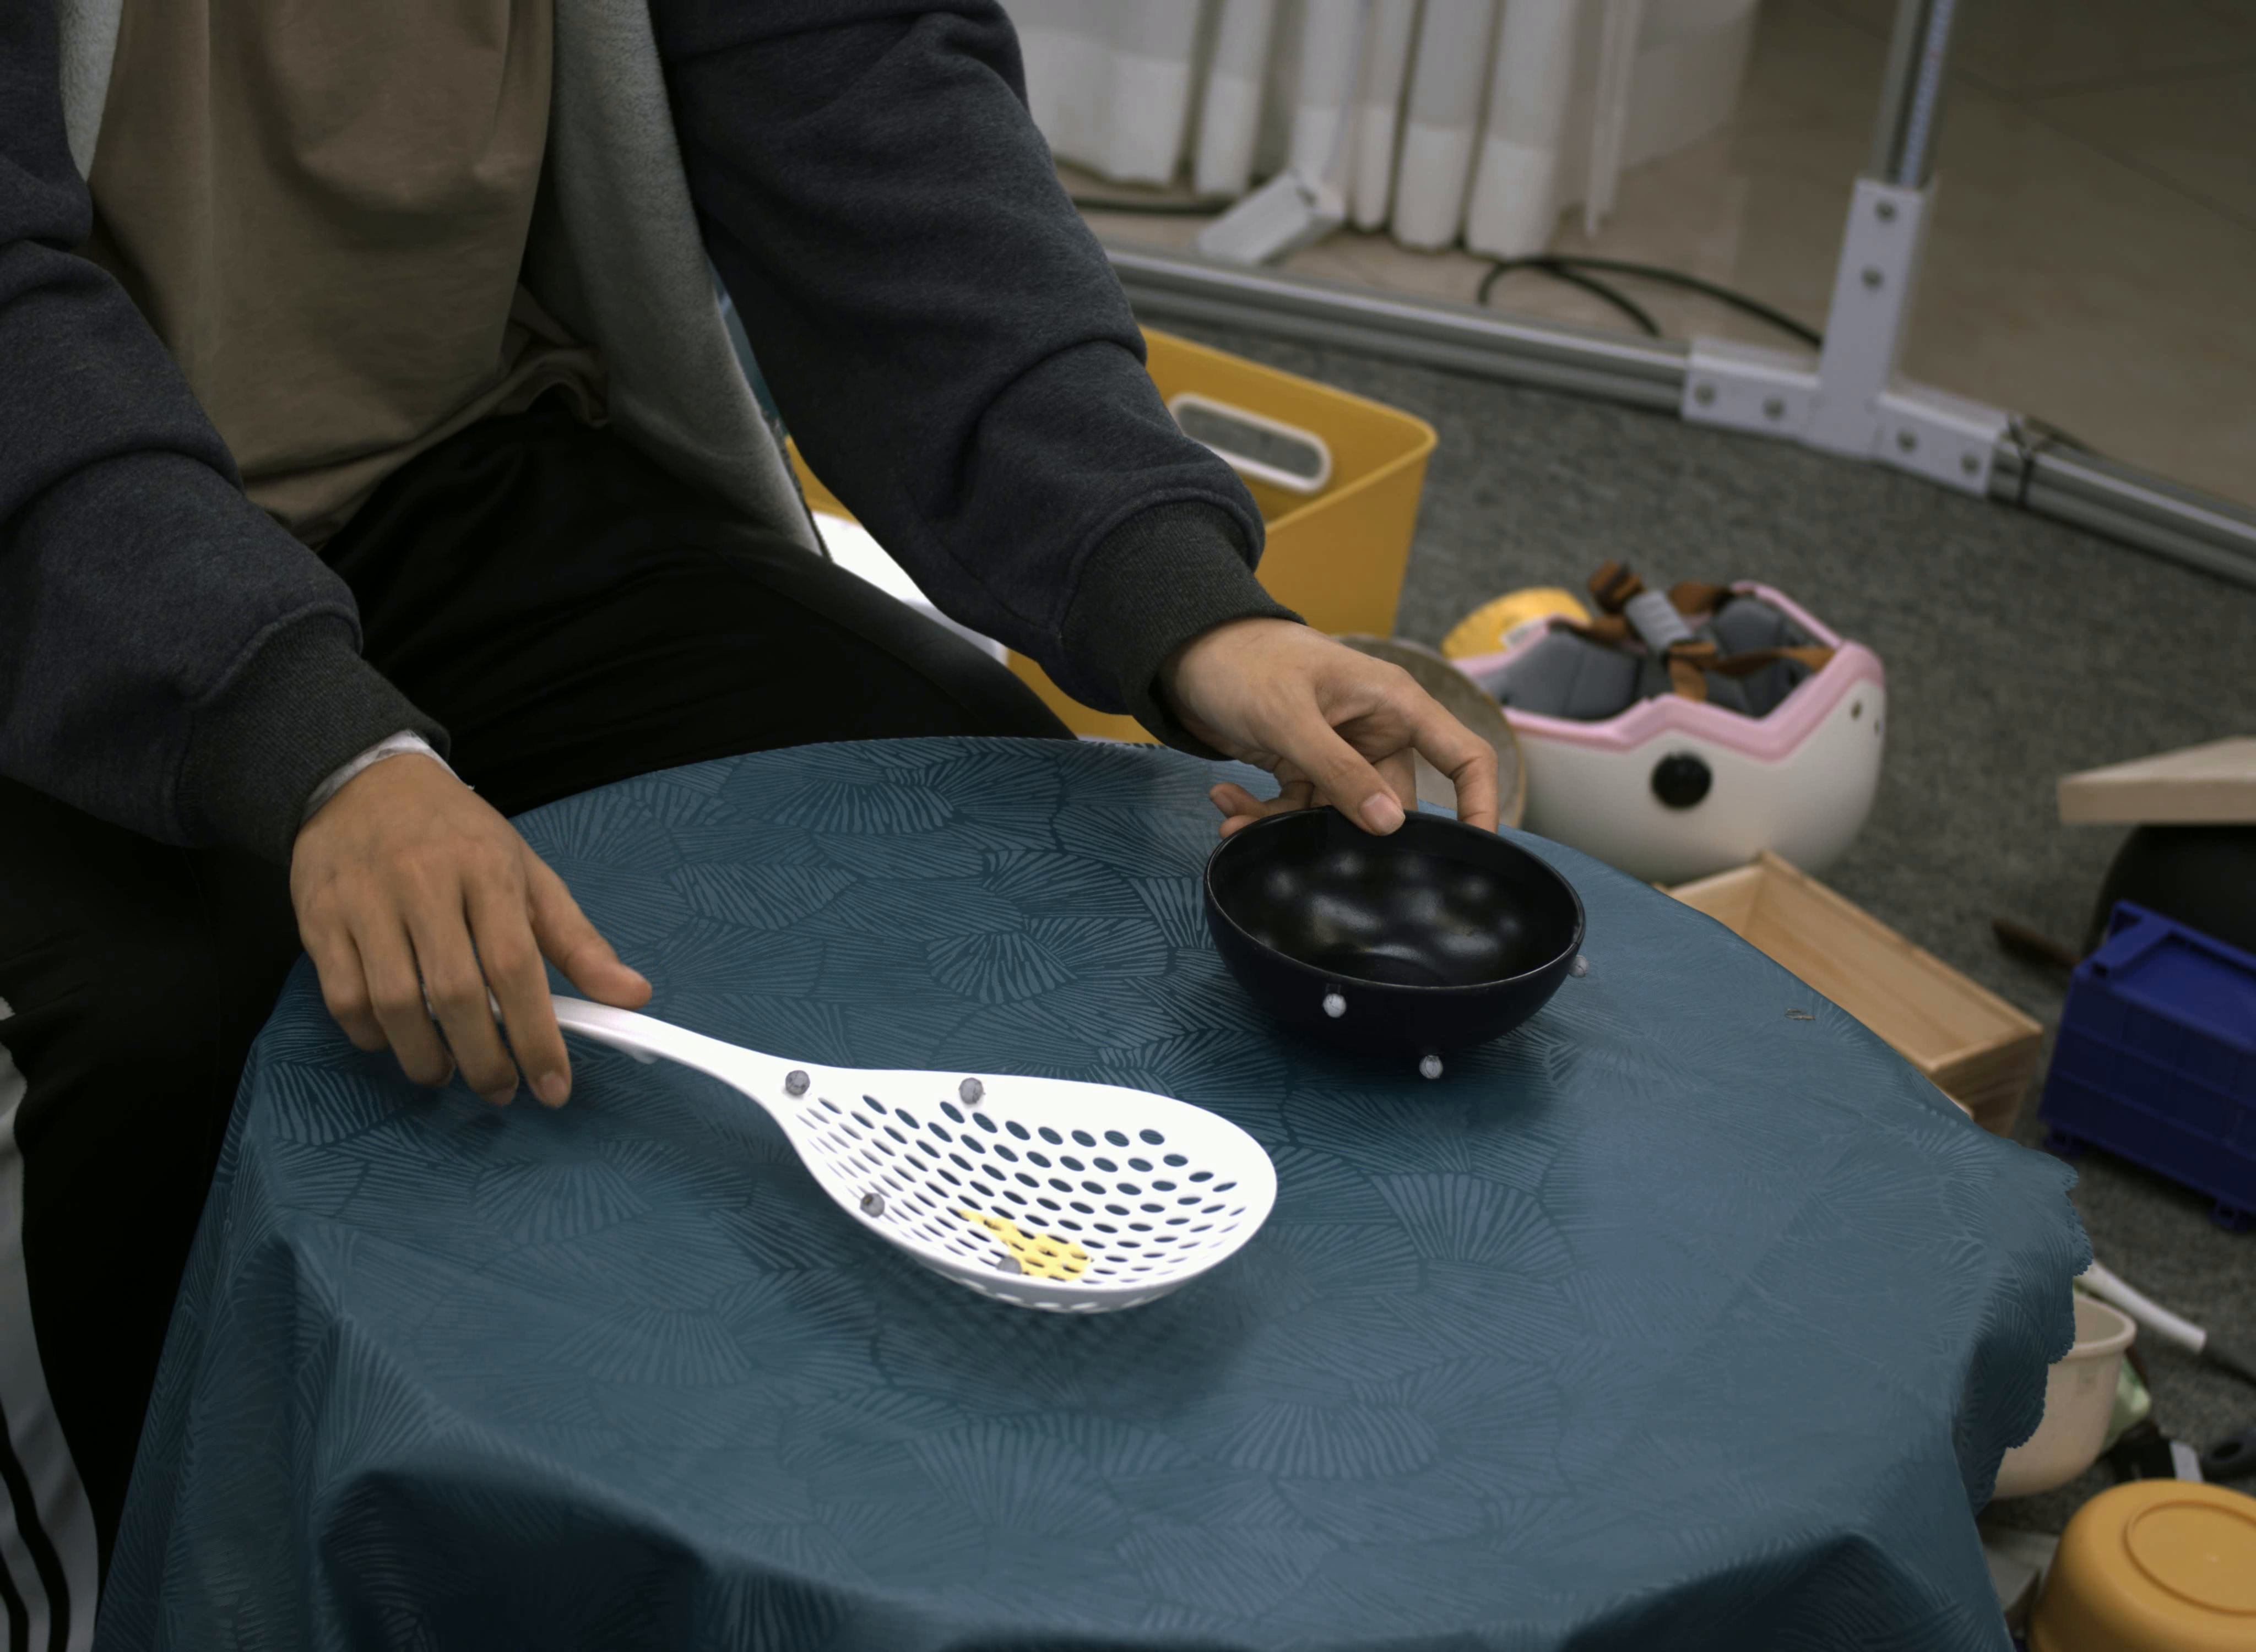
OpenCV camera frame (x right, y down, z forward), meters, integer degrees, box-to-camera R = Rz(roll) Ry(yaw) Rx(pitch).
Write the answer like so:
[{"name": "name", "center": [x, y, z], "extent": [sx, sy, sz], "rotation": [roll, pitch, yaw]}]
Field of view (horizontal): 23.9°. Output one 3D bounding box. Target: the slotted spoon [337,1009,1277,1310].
[{"name": "slotted spoon", "center": [-0.116, 0.097, 1.784], "extent": [0.349, 0.050, 0.137], "rotation": [18, 32, 23]}]
